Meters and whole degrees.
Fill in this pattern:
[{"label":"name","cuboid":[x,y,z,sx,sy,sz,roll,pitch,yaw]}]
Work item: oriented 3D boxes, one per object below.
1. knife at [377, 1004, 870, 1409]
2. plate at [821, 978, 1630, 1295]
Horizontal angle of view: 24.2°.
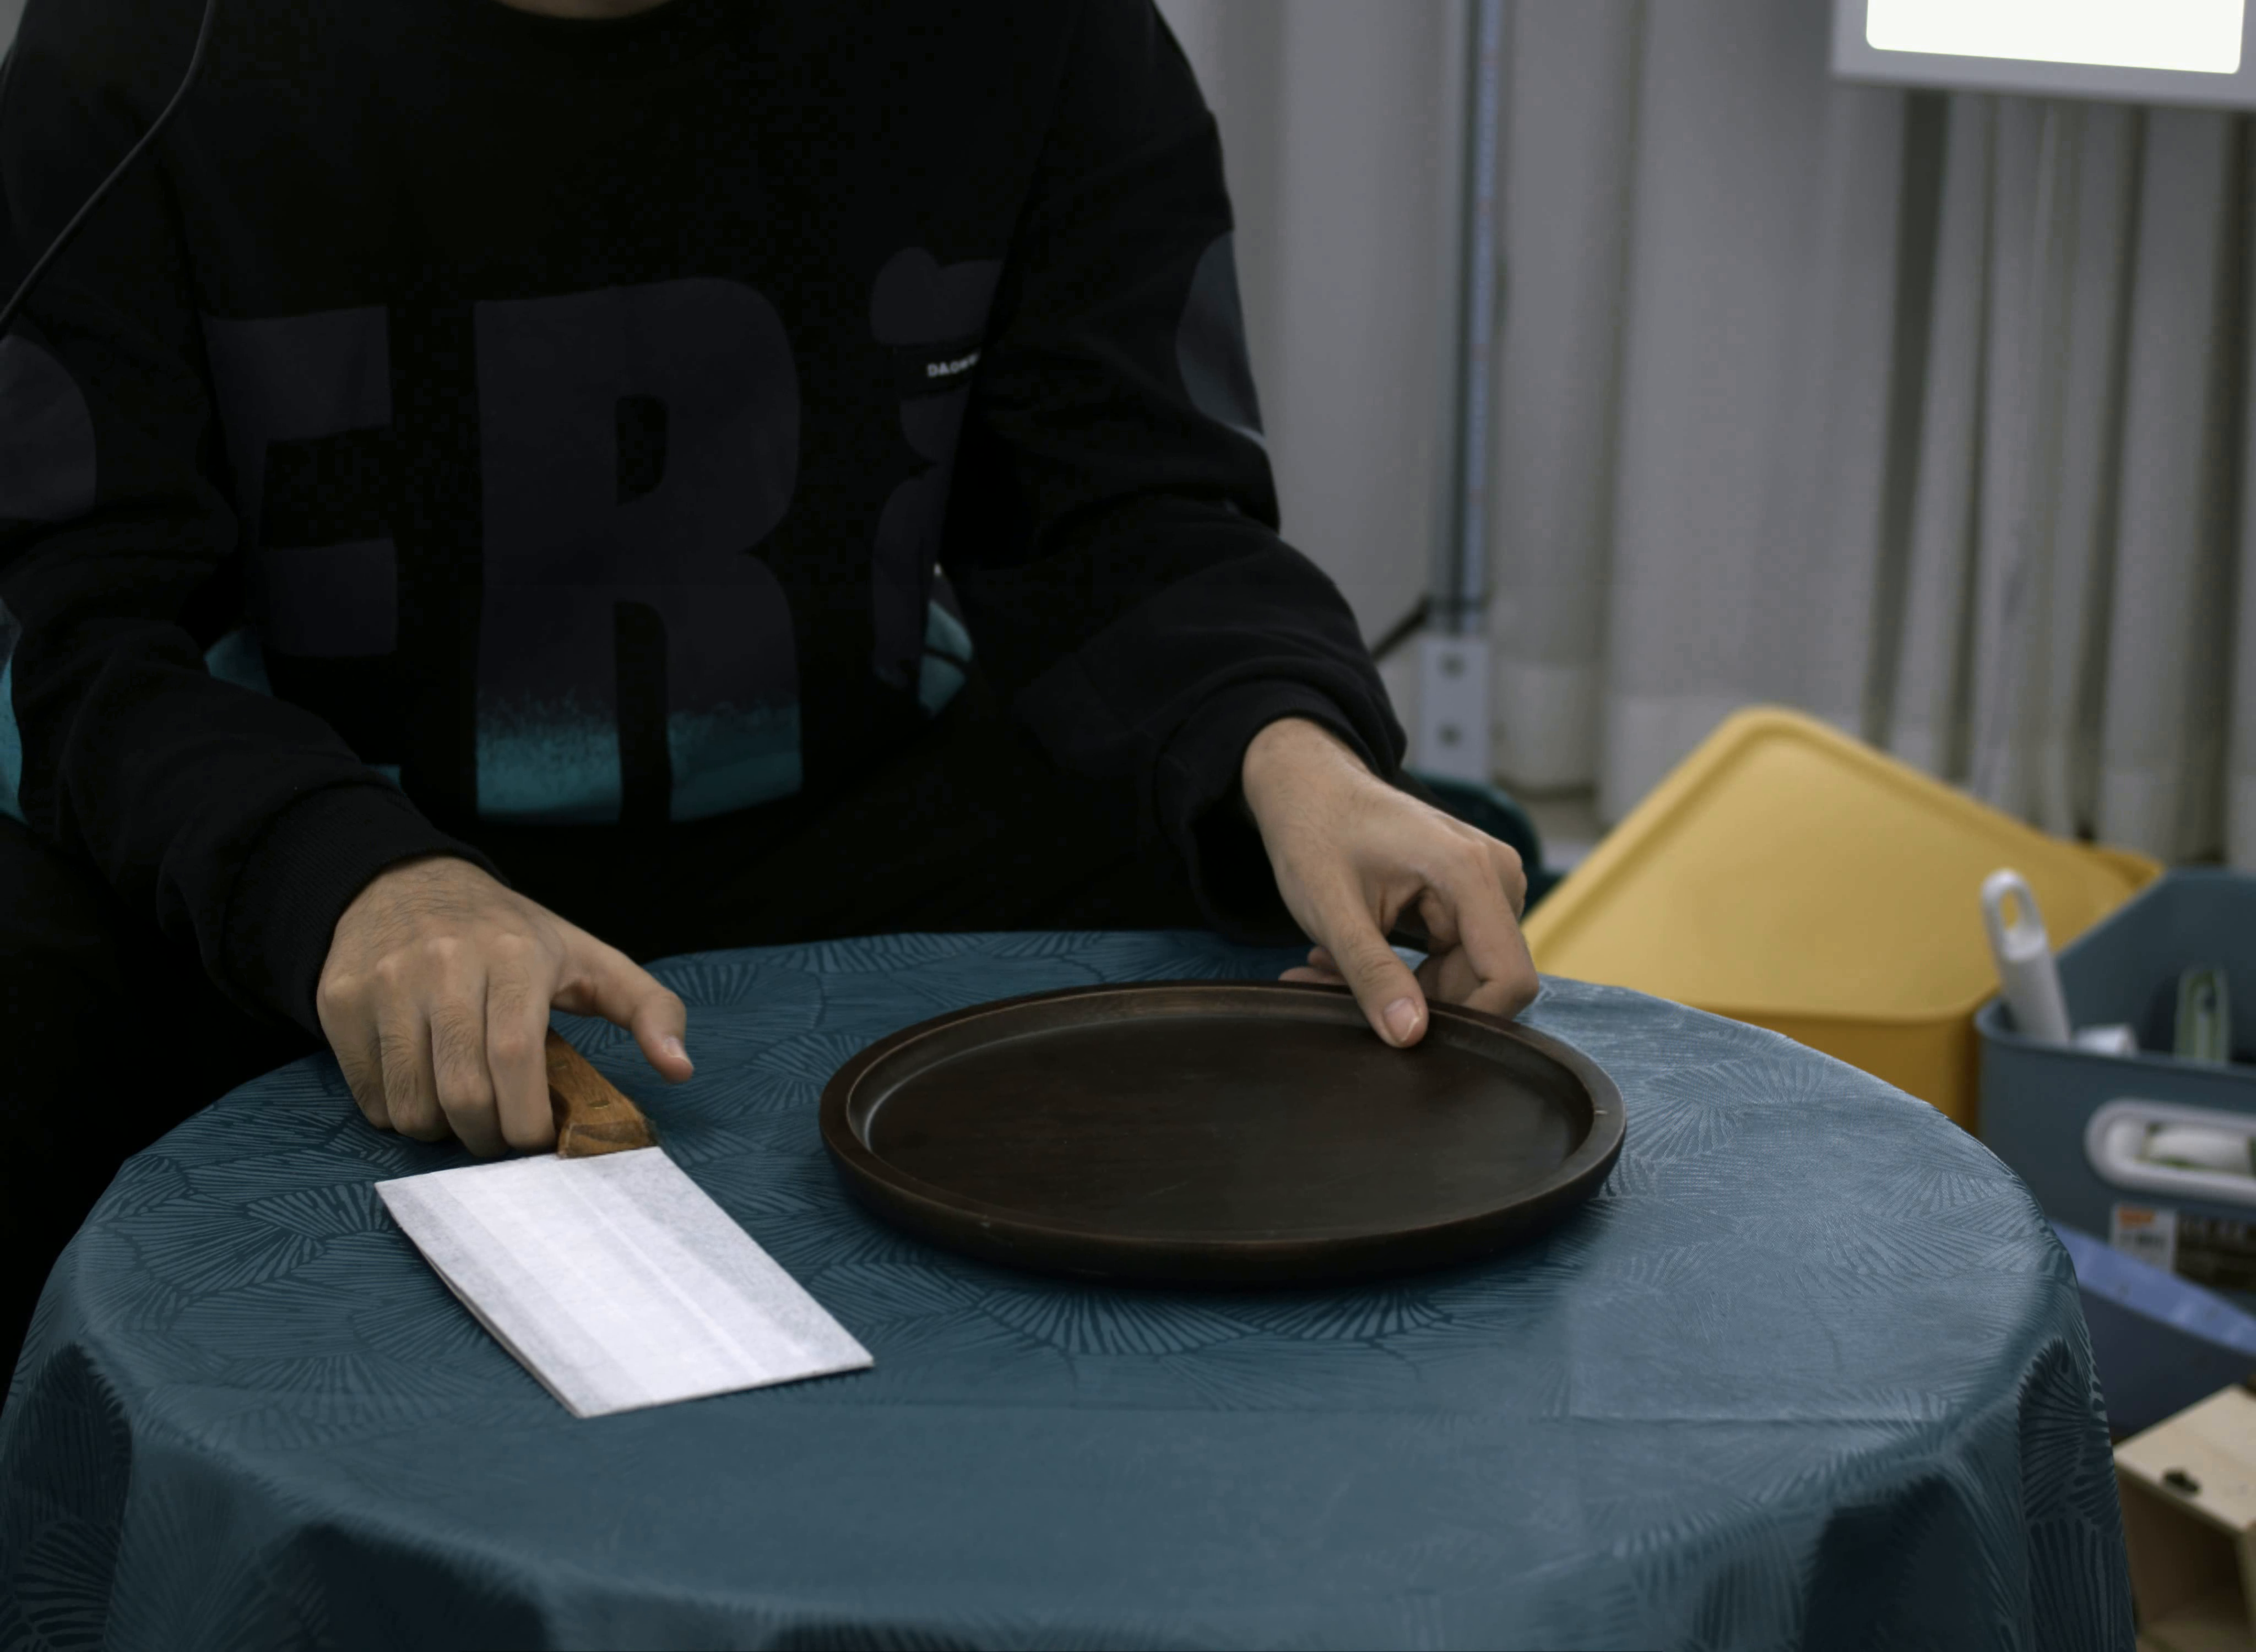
[{"label":"knife","cuboid":[-0.172,0.113,1.586,0.093,0.021,0.302,-9,20,-23]},{"label":"plate","cuboid":[0.030,0.094,1.641,0.254,0.029,0.253,2,16,0]}]
